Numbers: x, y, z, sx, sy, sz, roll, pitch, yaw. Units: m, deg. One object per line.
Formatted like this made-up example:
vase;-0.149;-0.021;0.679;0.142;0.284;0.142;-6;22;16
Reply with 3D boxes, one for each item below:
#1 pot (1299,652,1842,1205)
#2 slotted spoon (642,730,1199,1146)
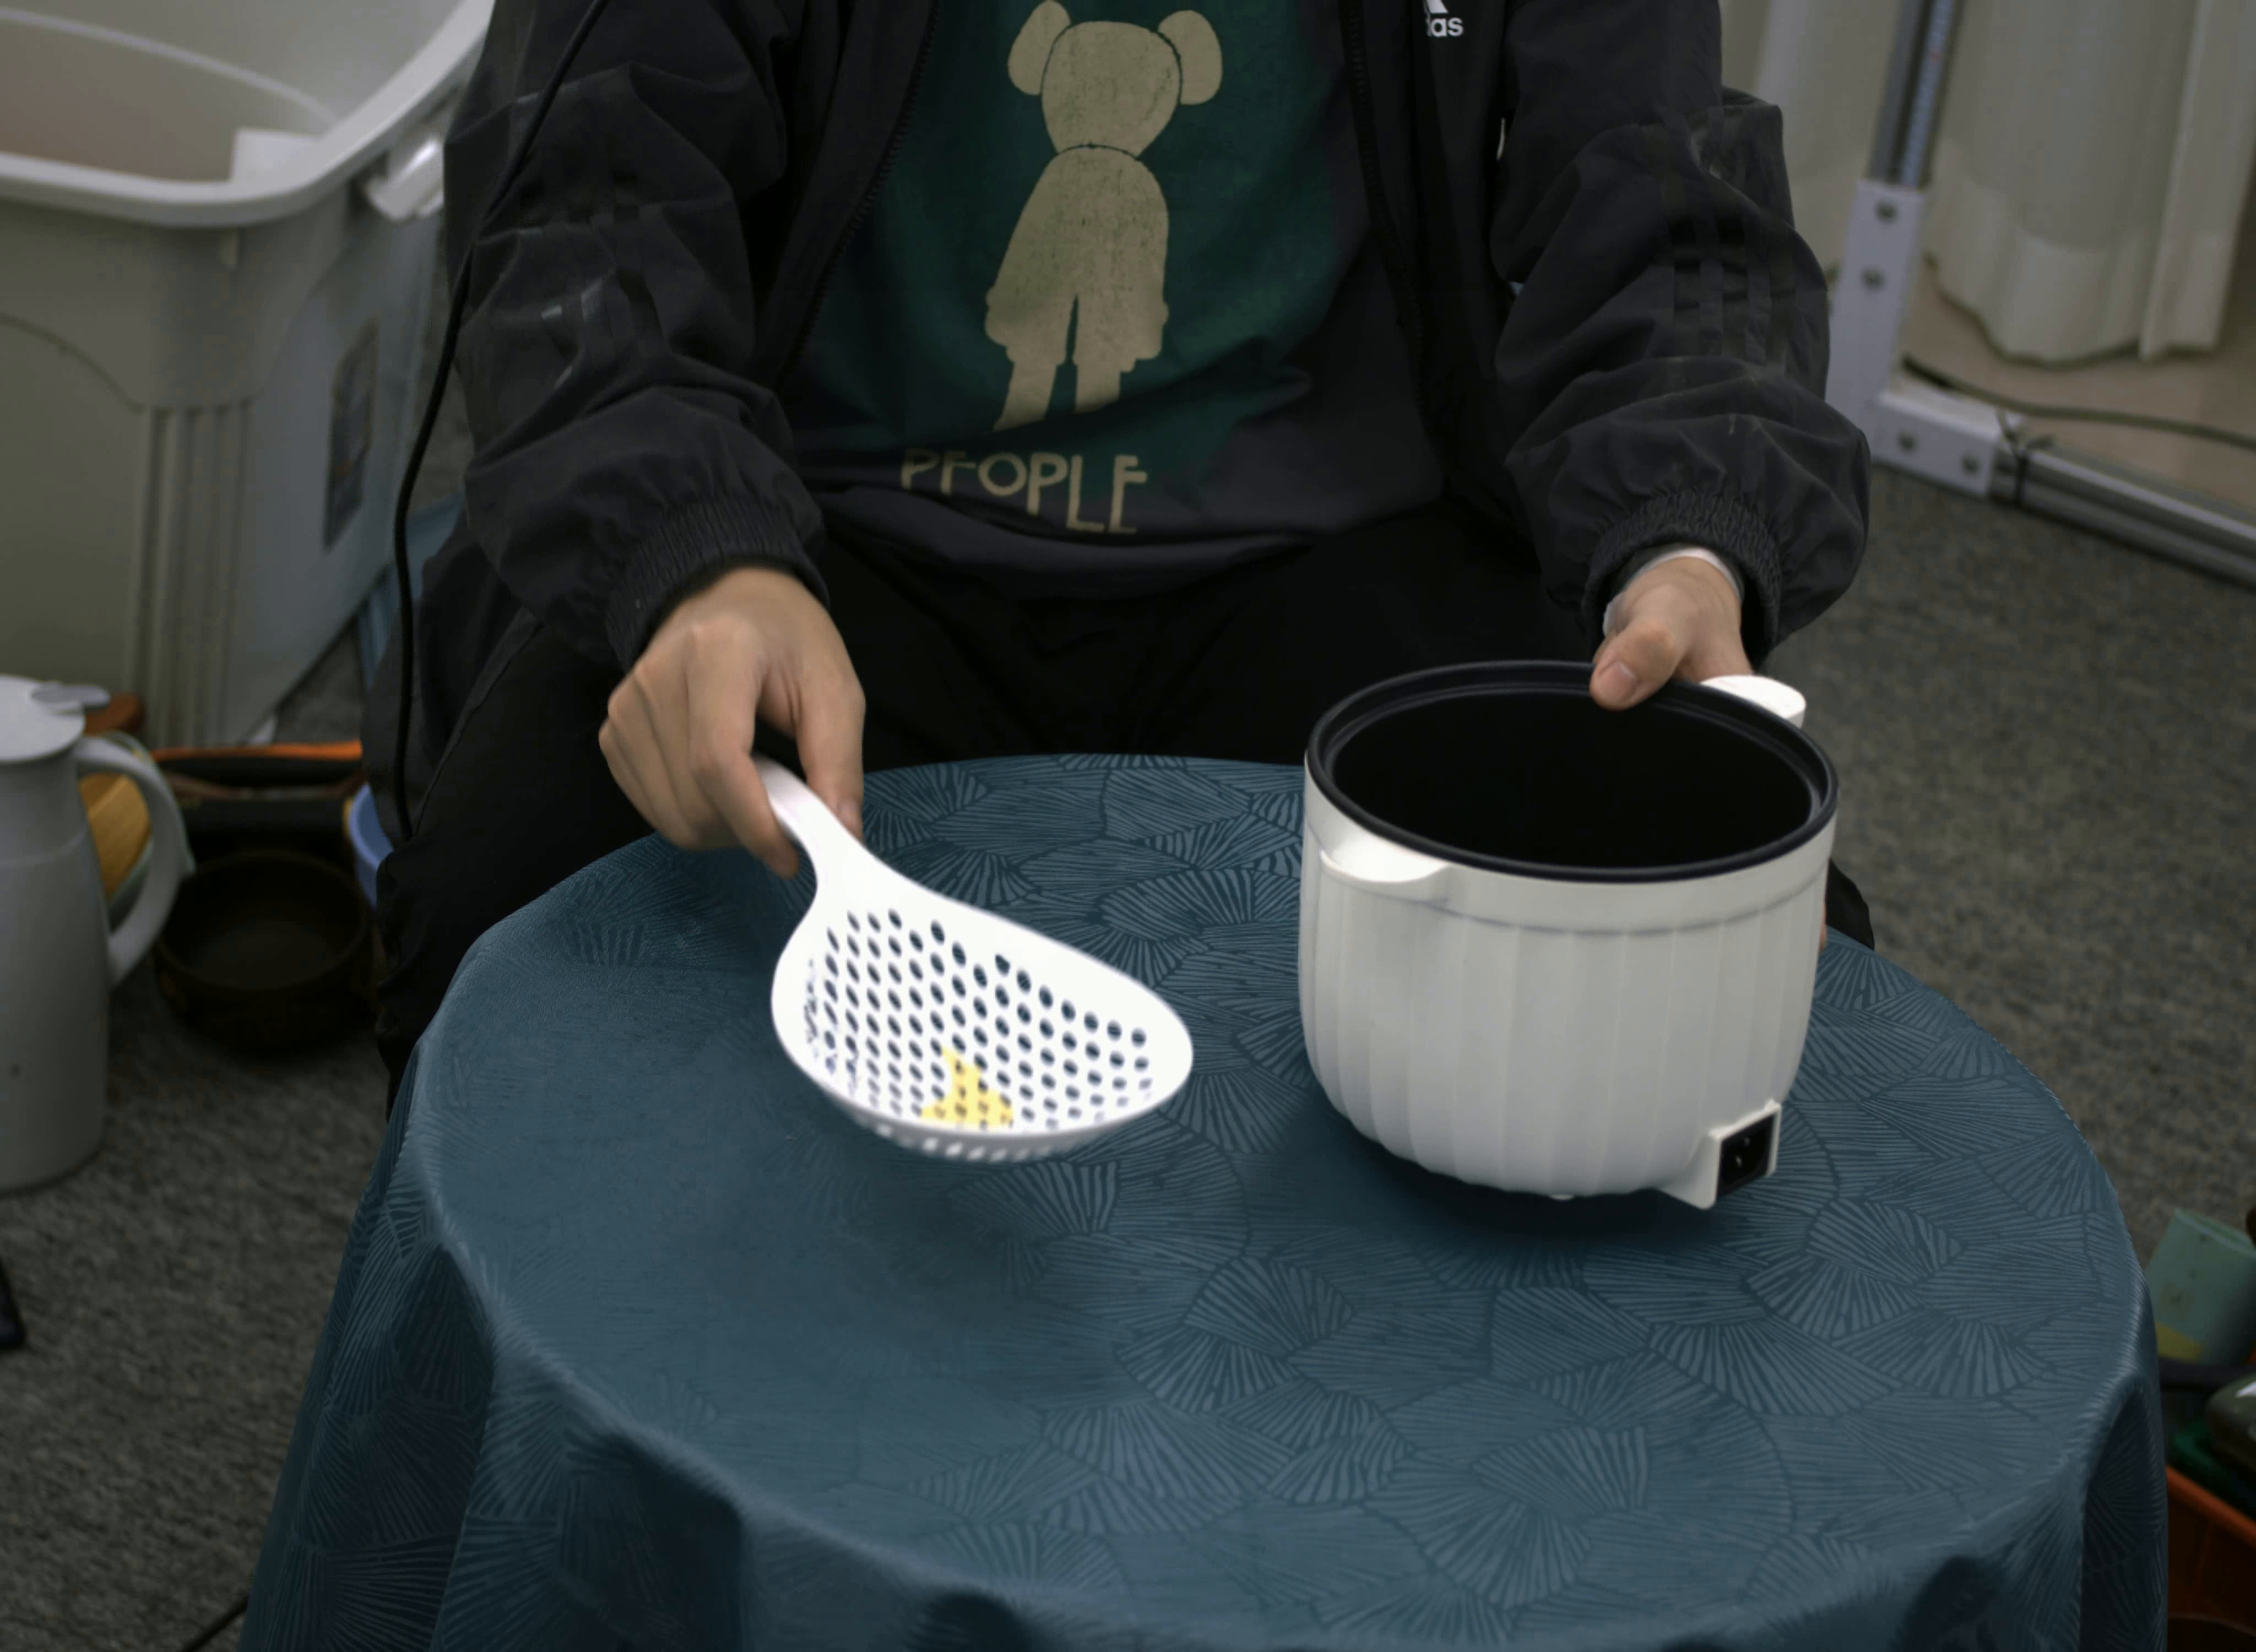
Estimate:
pot;0.143;0.036;1.833;0.192;0.142;0.239;26;32;36
slotted spoon;-0.093;0.026;1.830;0.136;0.050;0.351;-8;31;-24
